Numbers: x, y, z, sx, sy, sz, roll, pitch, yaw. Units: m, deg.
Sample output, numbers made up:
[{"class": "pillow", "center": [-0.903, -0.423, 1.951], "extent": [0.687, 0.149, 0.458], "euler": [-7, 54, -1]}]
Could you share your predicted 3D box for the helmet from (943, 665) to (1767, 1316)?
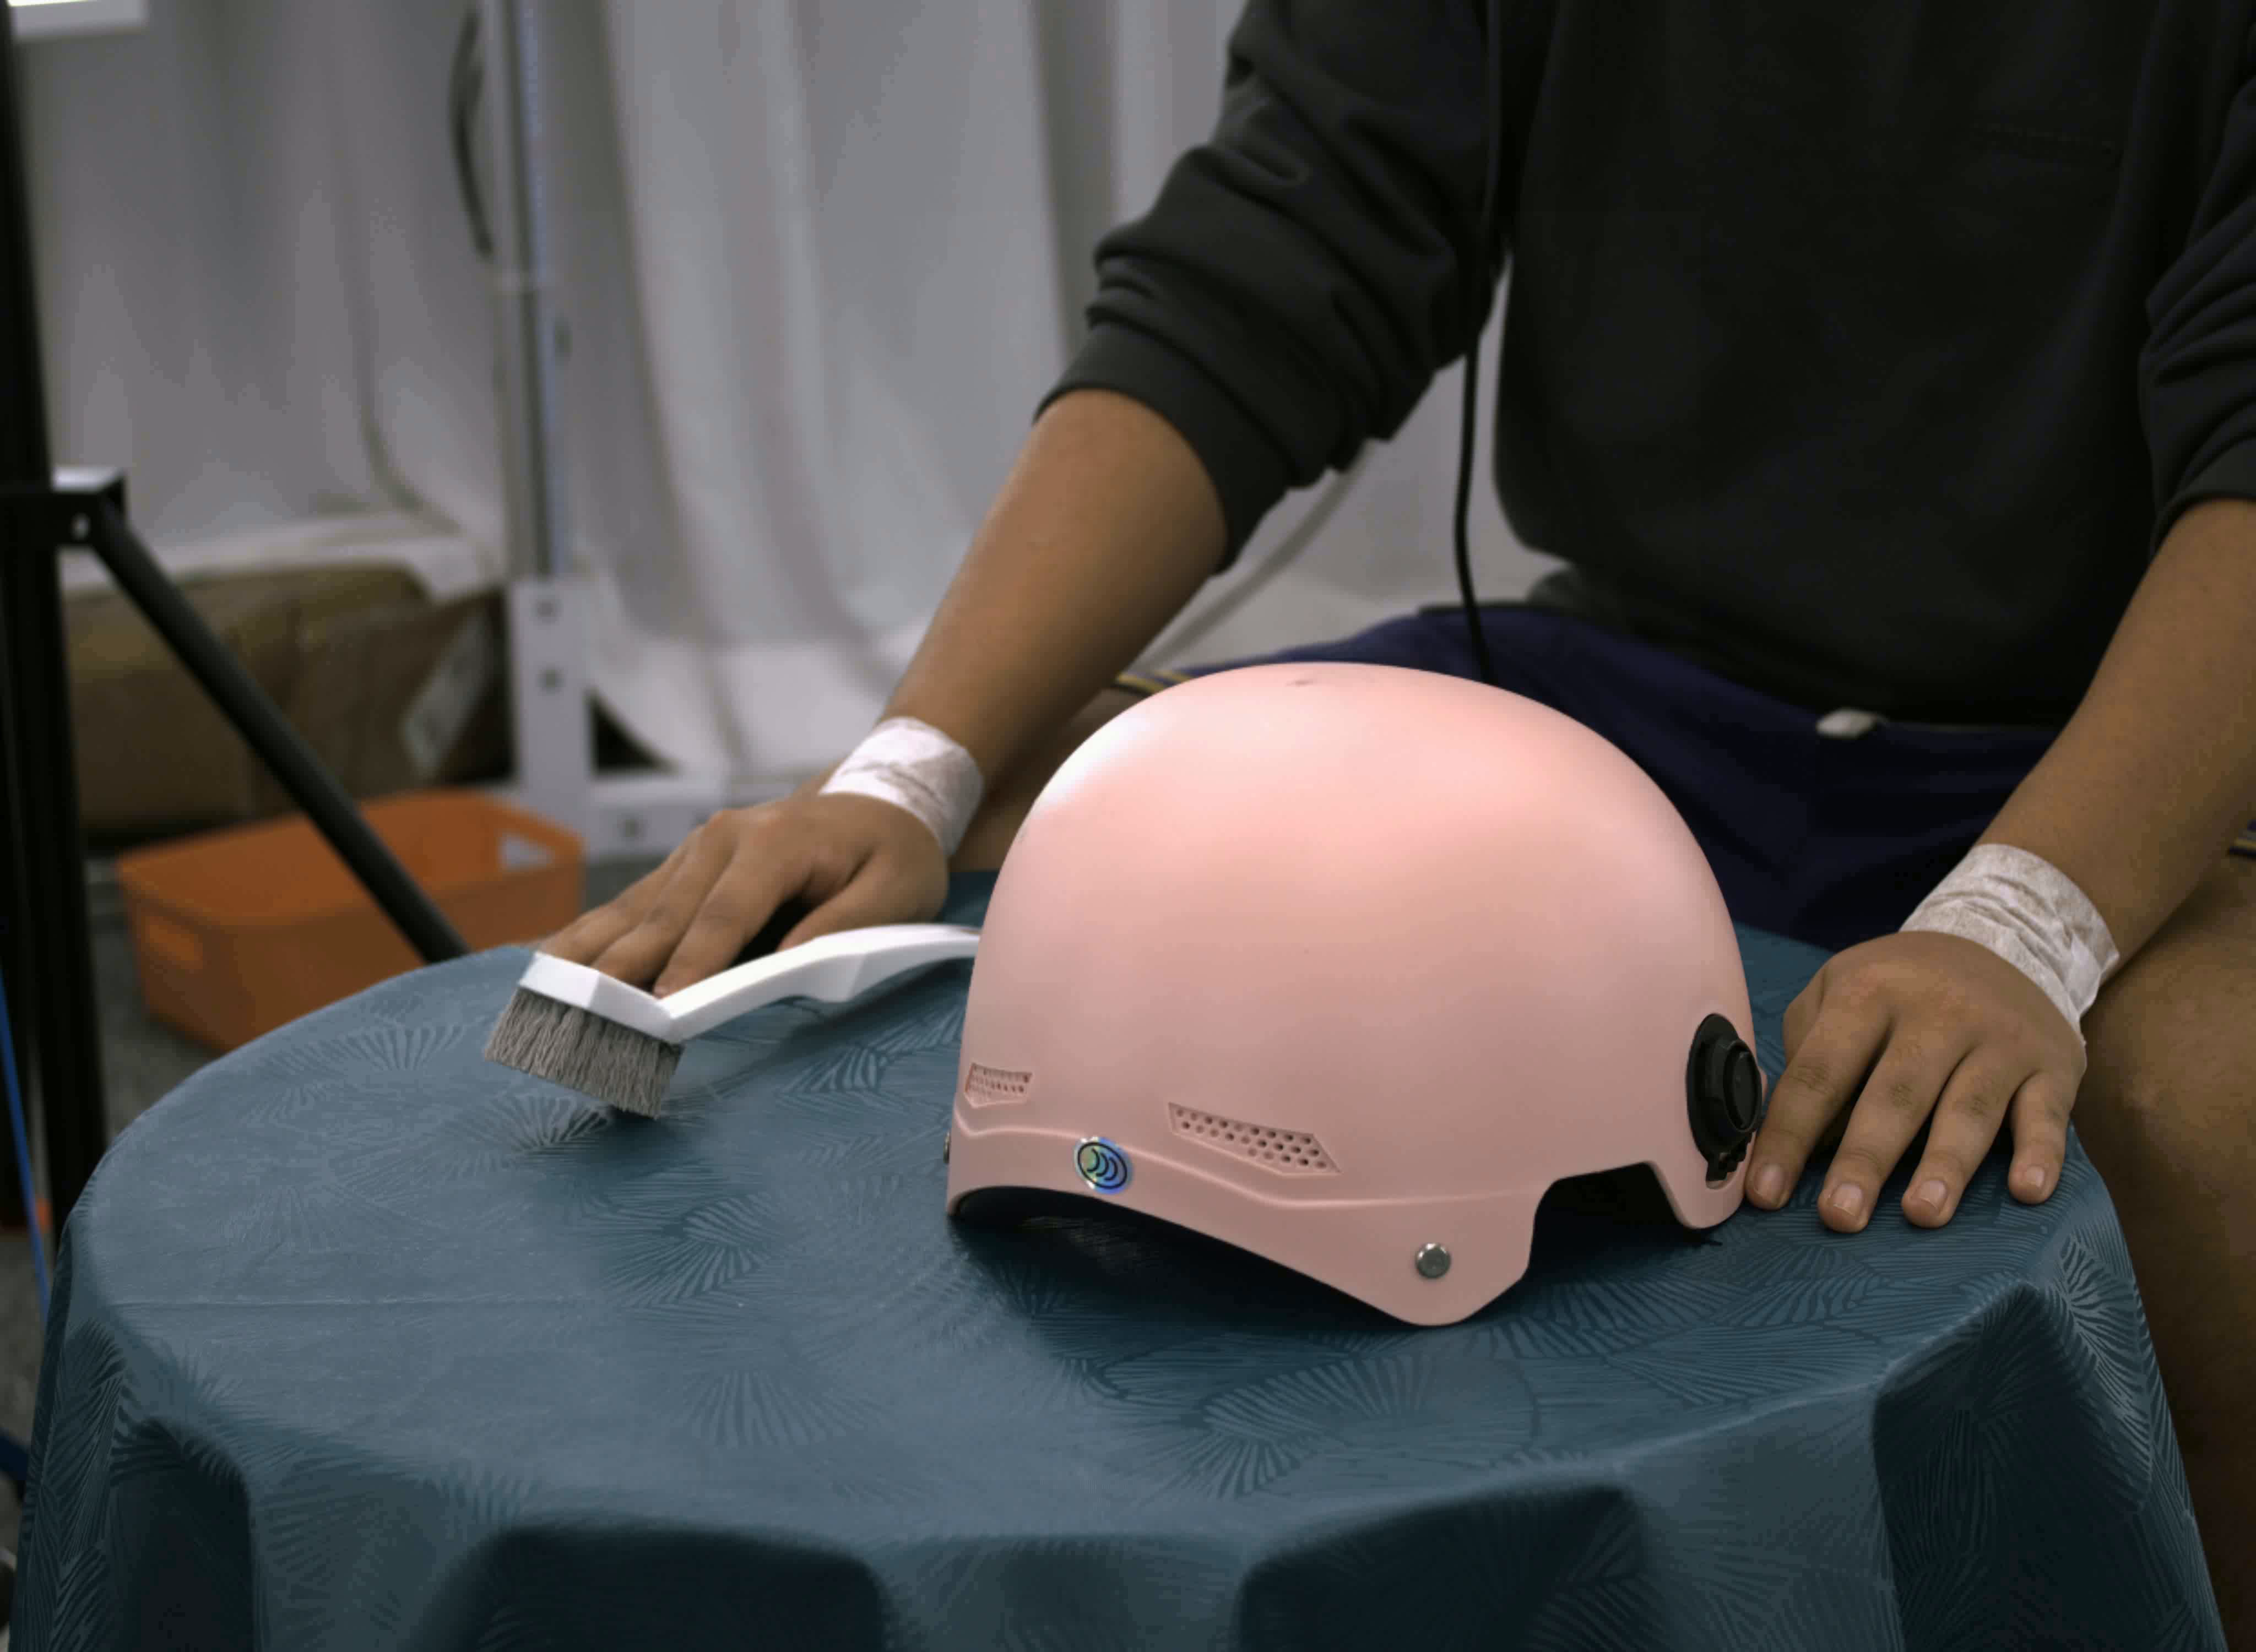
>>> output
[{"class": "helmet", "center": [0.070, 0.032, 1.545], "extent": [0.239, 0.159, 0.260], "euler": [9, 15, 38]}]

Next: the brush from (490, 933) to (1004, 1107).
[{"class": "brush", "center": [-0.116, 0.061, 1.705], "extent": [0.035, 0.050, 0.238], "euler": [14, 8, 33]}]
